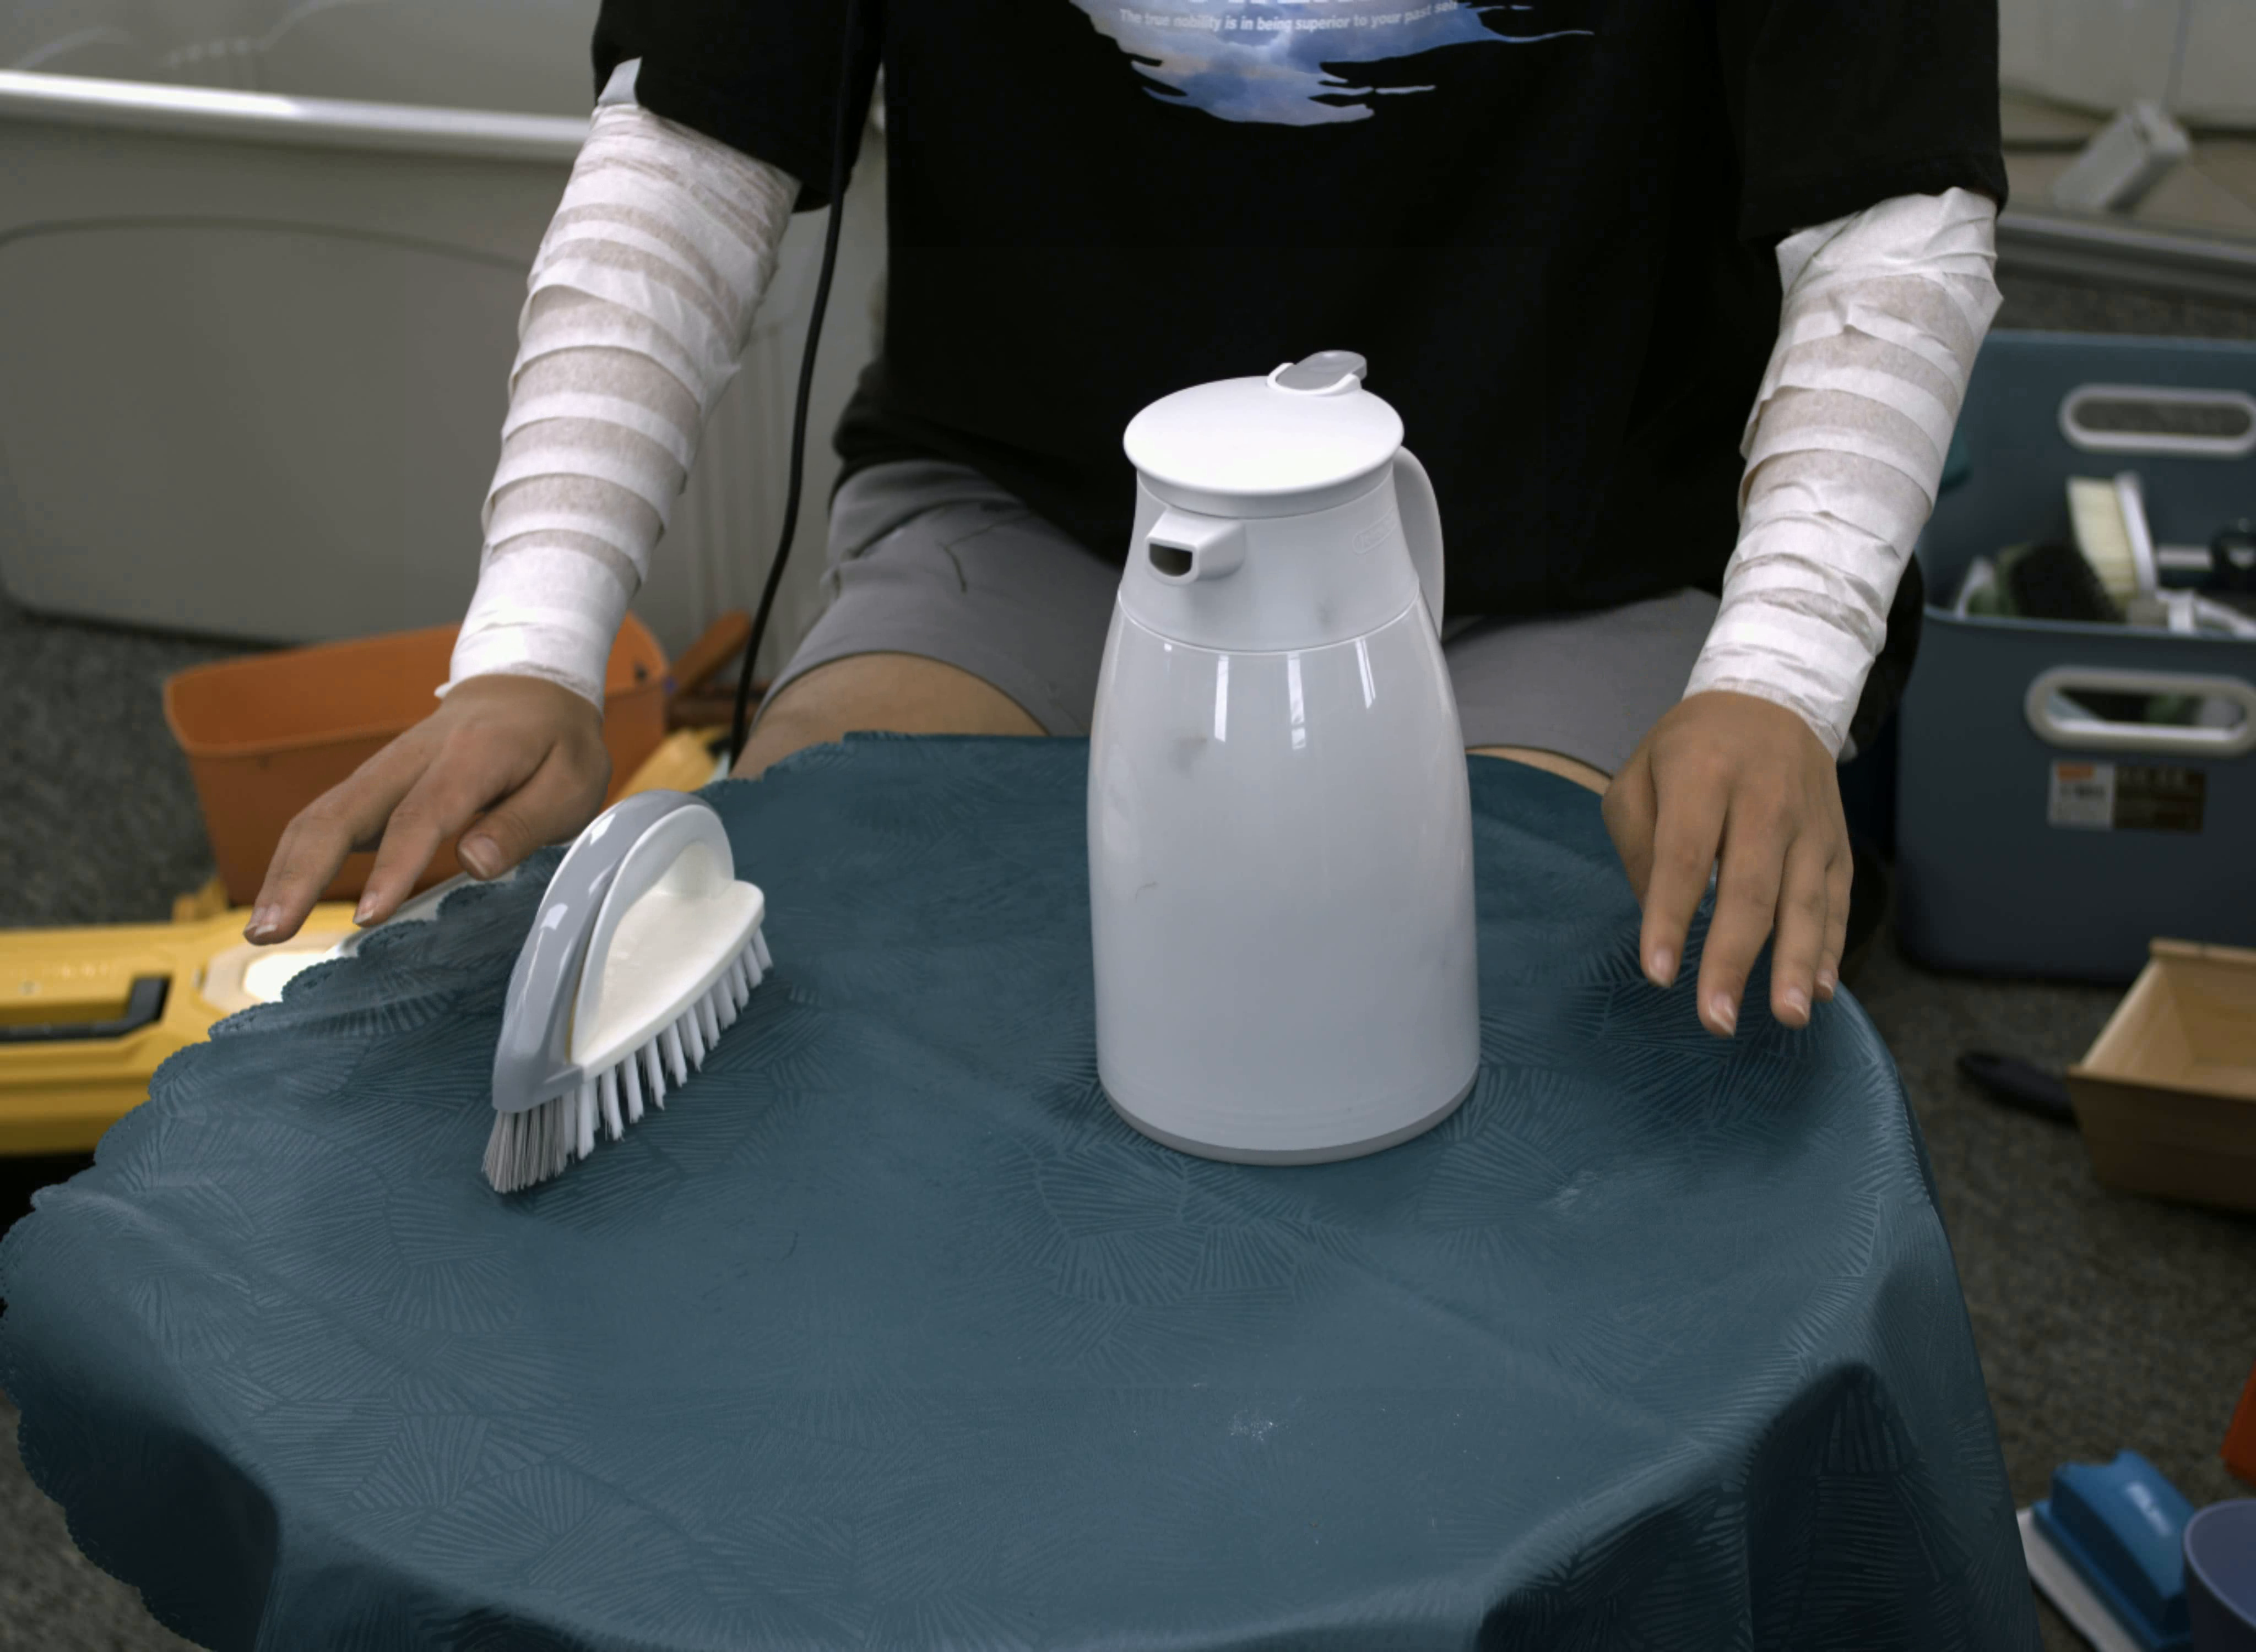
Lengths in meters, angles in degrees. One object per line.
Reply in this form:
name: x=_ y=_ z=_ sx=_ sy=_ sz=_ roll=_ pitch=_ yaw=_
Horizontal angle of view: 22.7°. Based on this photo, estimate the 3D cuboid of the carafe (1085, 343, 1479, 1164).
carafe: x=0.057 y=-0.035 z=1.893 sx=0.132 sy=0.246 sz=0.170 roll=11 pitch=29 yaw=27

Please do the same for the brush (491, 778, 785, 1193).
brush: x=-0.177 y=0.047 z=1.924 sx=0.061 sy=0.093 sz=0.178 roll=5 pitch=29 yaw=21
